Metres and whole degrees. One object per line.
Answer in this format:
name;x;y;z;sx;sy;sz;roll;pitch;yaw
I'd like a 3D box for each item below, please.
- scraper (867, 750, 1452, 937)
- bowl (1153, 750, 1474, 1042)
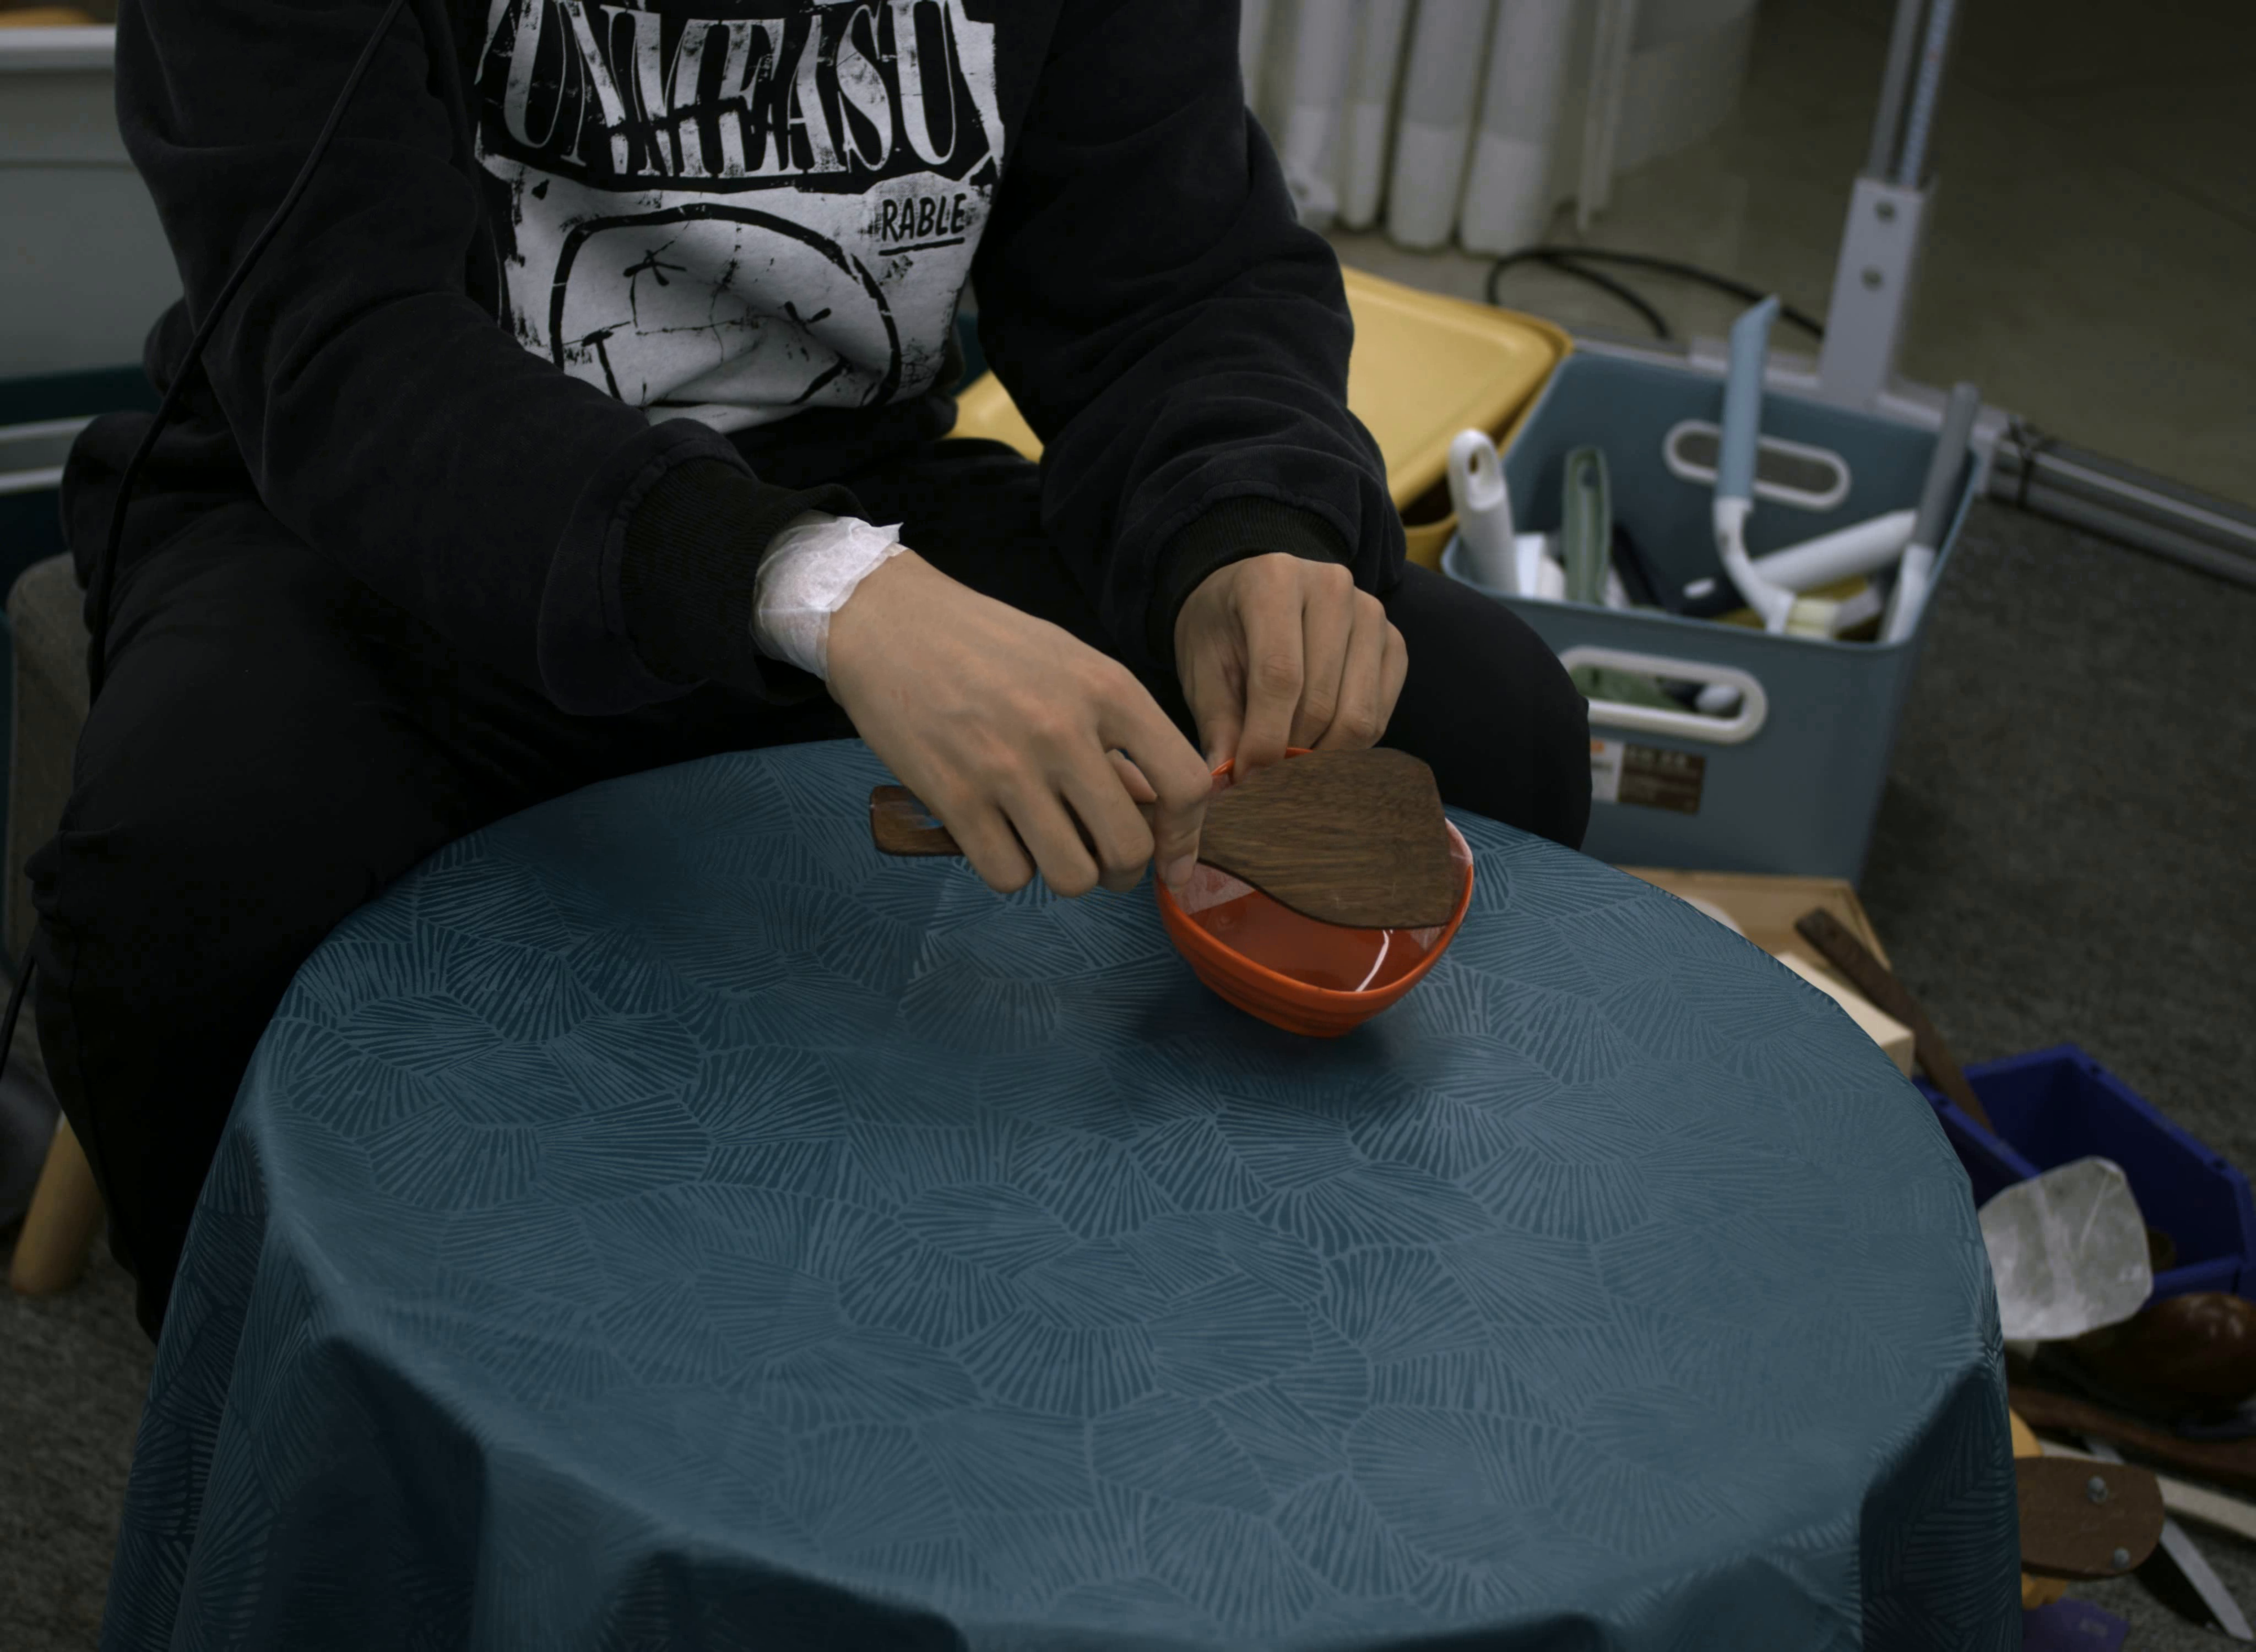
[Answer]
scraper;0.011;0.002;1.873;0.210;0.011;0.076;3;59;-14
bowl;0.063;0.033;1.917;0.118;0.051;0.120;5;48;-6
